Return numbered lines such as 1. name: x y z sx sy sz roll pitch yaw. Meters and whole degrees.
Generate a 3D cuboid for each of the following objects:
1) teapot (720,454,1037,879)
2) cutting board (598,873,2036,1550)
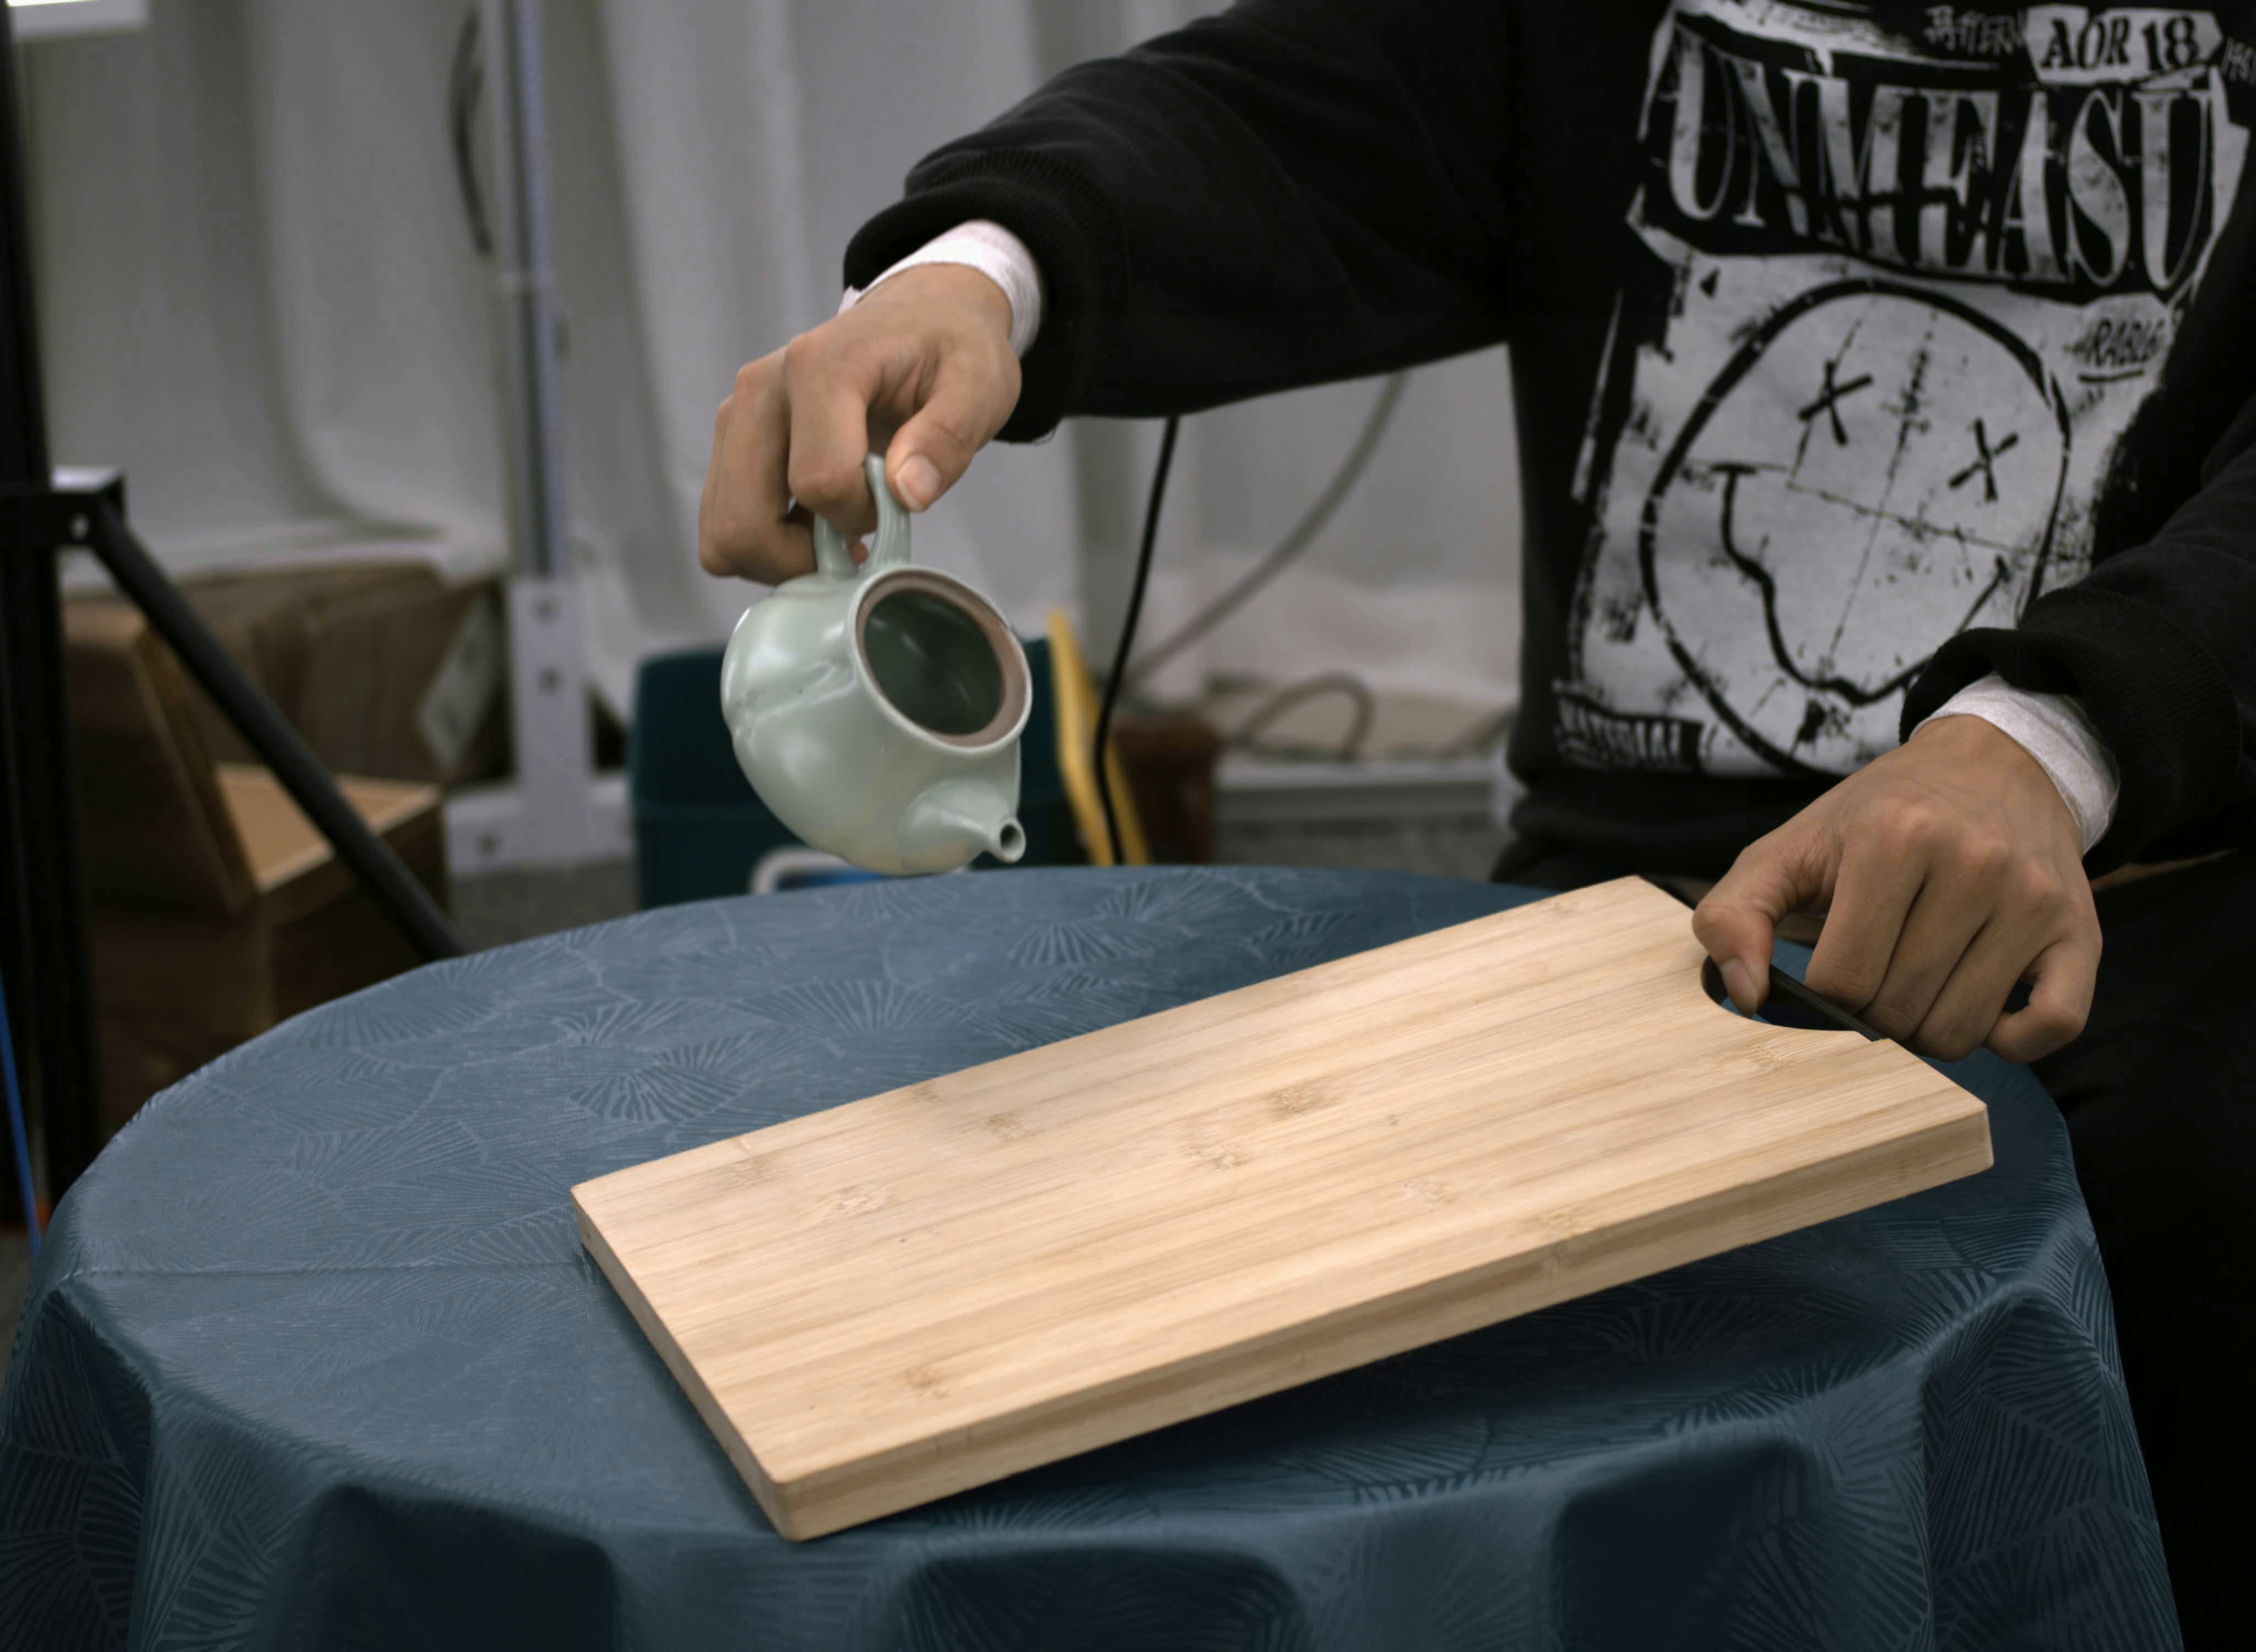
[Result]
1. teapot: -0.068 -0.039 1.529 0.094 0.139 0.062 -6 -24 -38
2. cutting board: 0.041 0.097 1.461 0.344 0.023 0.255 -16 19 -14
